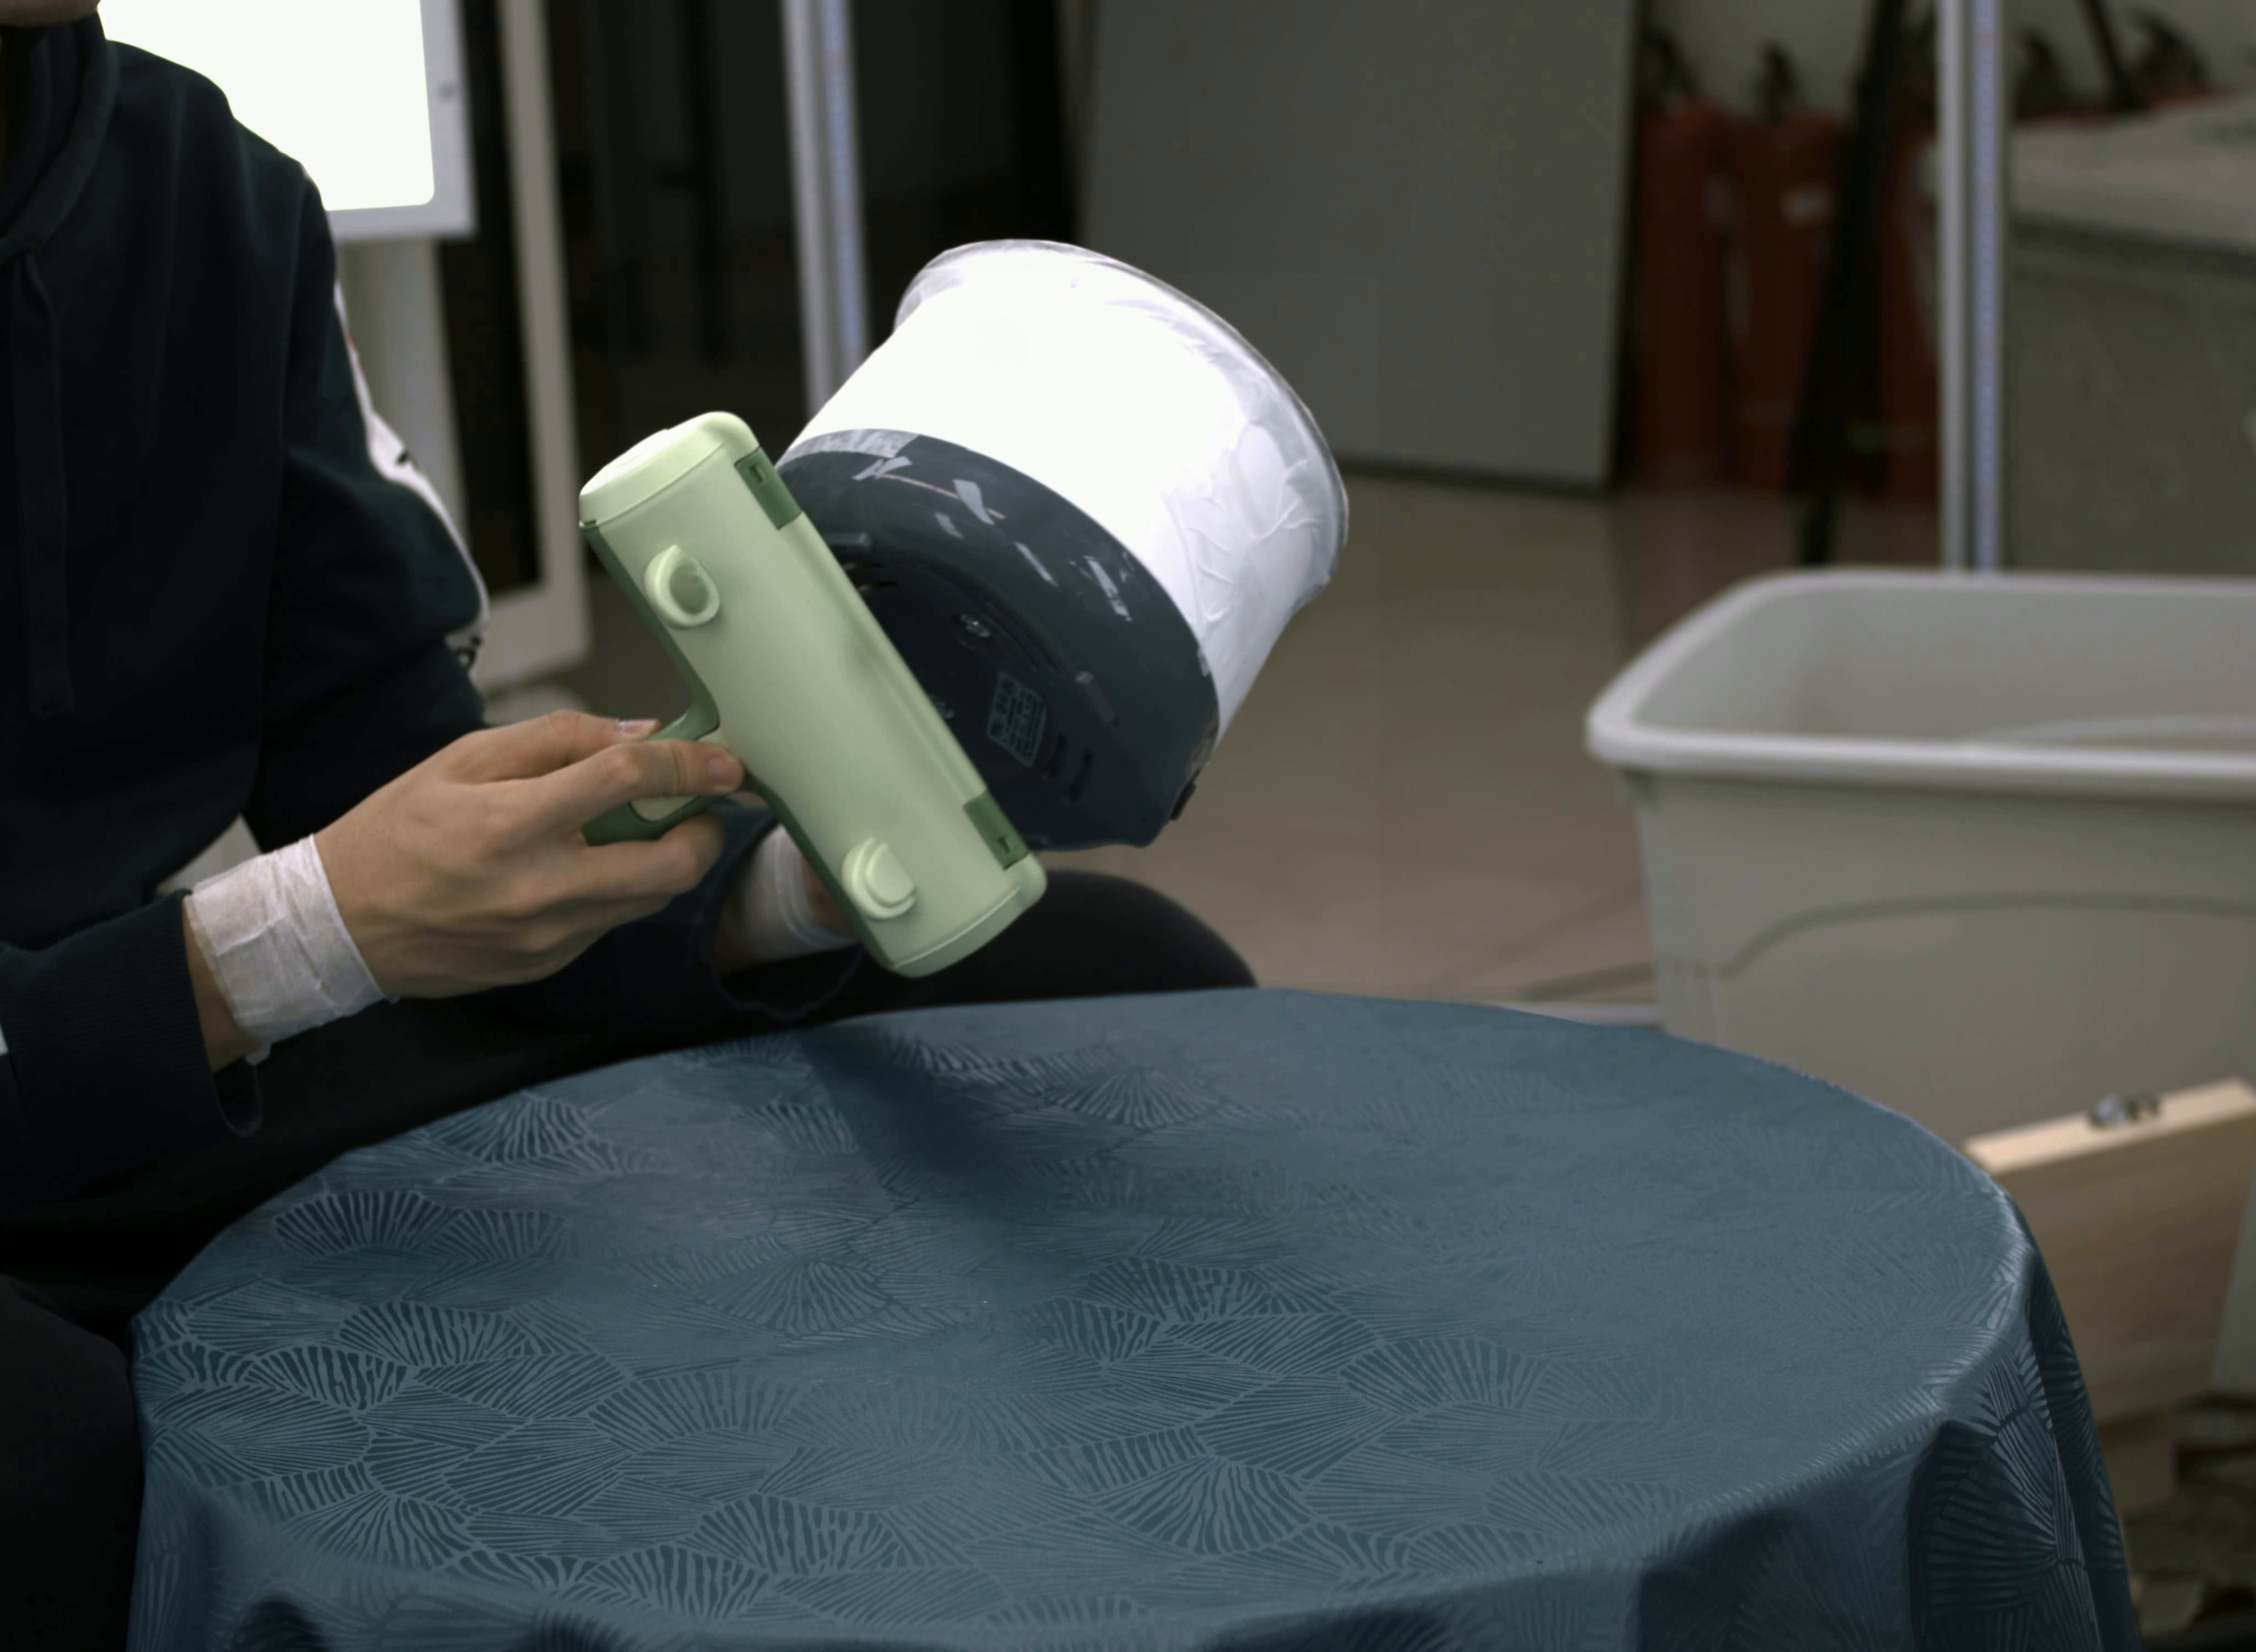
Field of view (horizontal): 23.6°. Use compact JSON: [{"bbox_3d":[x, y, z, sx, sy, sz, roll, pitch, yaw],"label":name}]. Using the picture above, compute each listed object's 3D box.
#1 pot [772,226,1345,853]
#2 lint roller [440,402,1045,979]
[{"bbox_3d":[-0.040,-0.077,1.839,0.178,0.235,0.136,32,58,4],"label":"pot"},{"bbox_3d":[-0.151,-0.011,1.760,0.183,0.198,0.082,-32,13,9],"label":"lint roller"}]
